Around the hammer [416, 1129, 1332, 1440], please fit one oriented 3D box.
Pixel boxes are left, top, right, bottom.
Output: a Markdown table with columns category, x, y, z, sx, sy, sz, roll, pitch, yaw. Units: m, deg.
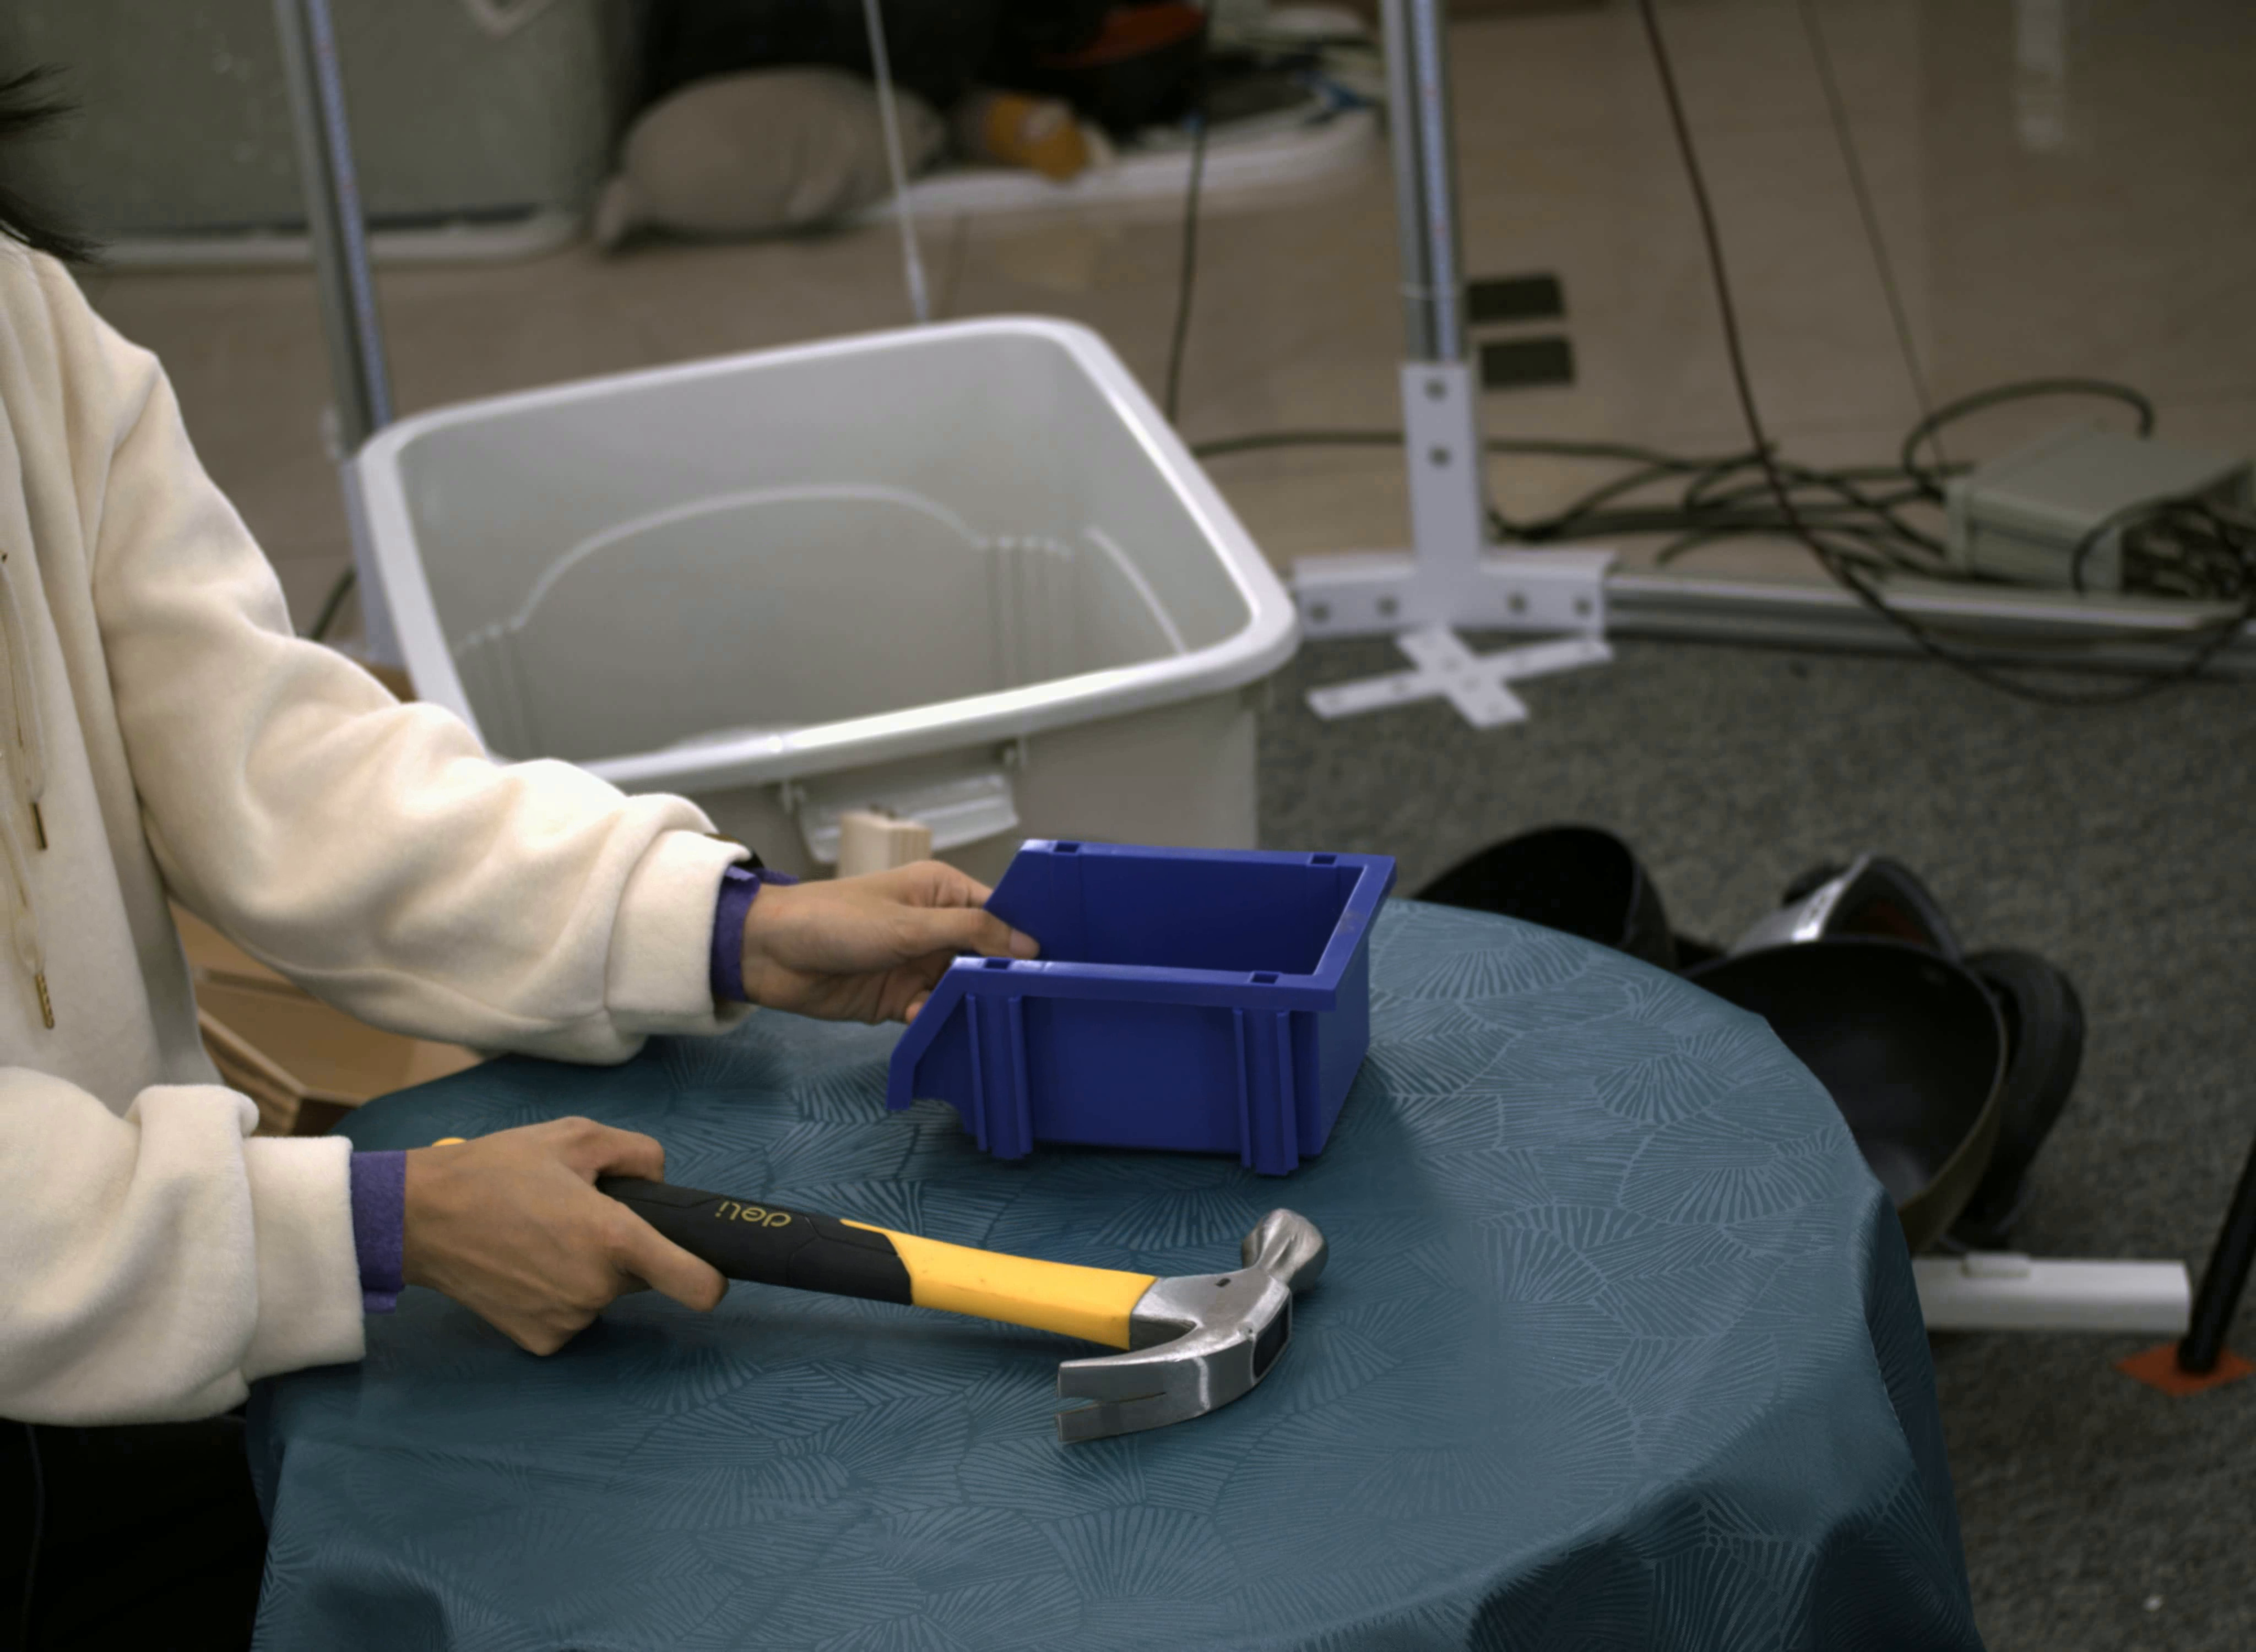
| category | x | y | z | sx | sy | sz | roll | pitch | yaw |
| --- | --- | --- | --- | --- | --- | --- | --- | --- | --- |
| hammer | -0.105 | 0.154 | 2.065 | 0.337 | 0.033 | 0.129 | 10 | 31 | 19 |

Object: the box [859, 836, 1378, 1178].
| category | x | y | z | sx | sy | sz | roll | pitch | yaw |
| --- | --- | --- | --- | --- | --- | --- | --- | --- | --- |
| box | -0.003 | 0.068 | 2.193 | 0.179 | 0.083 | 0.123 | 5 | 26 | 14 |
